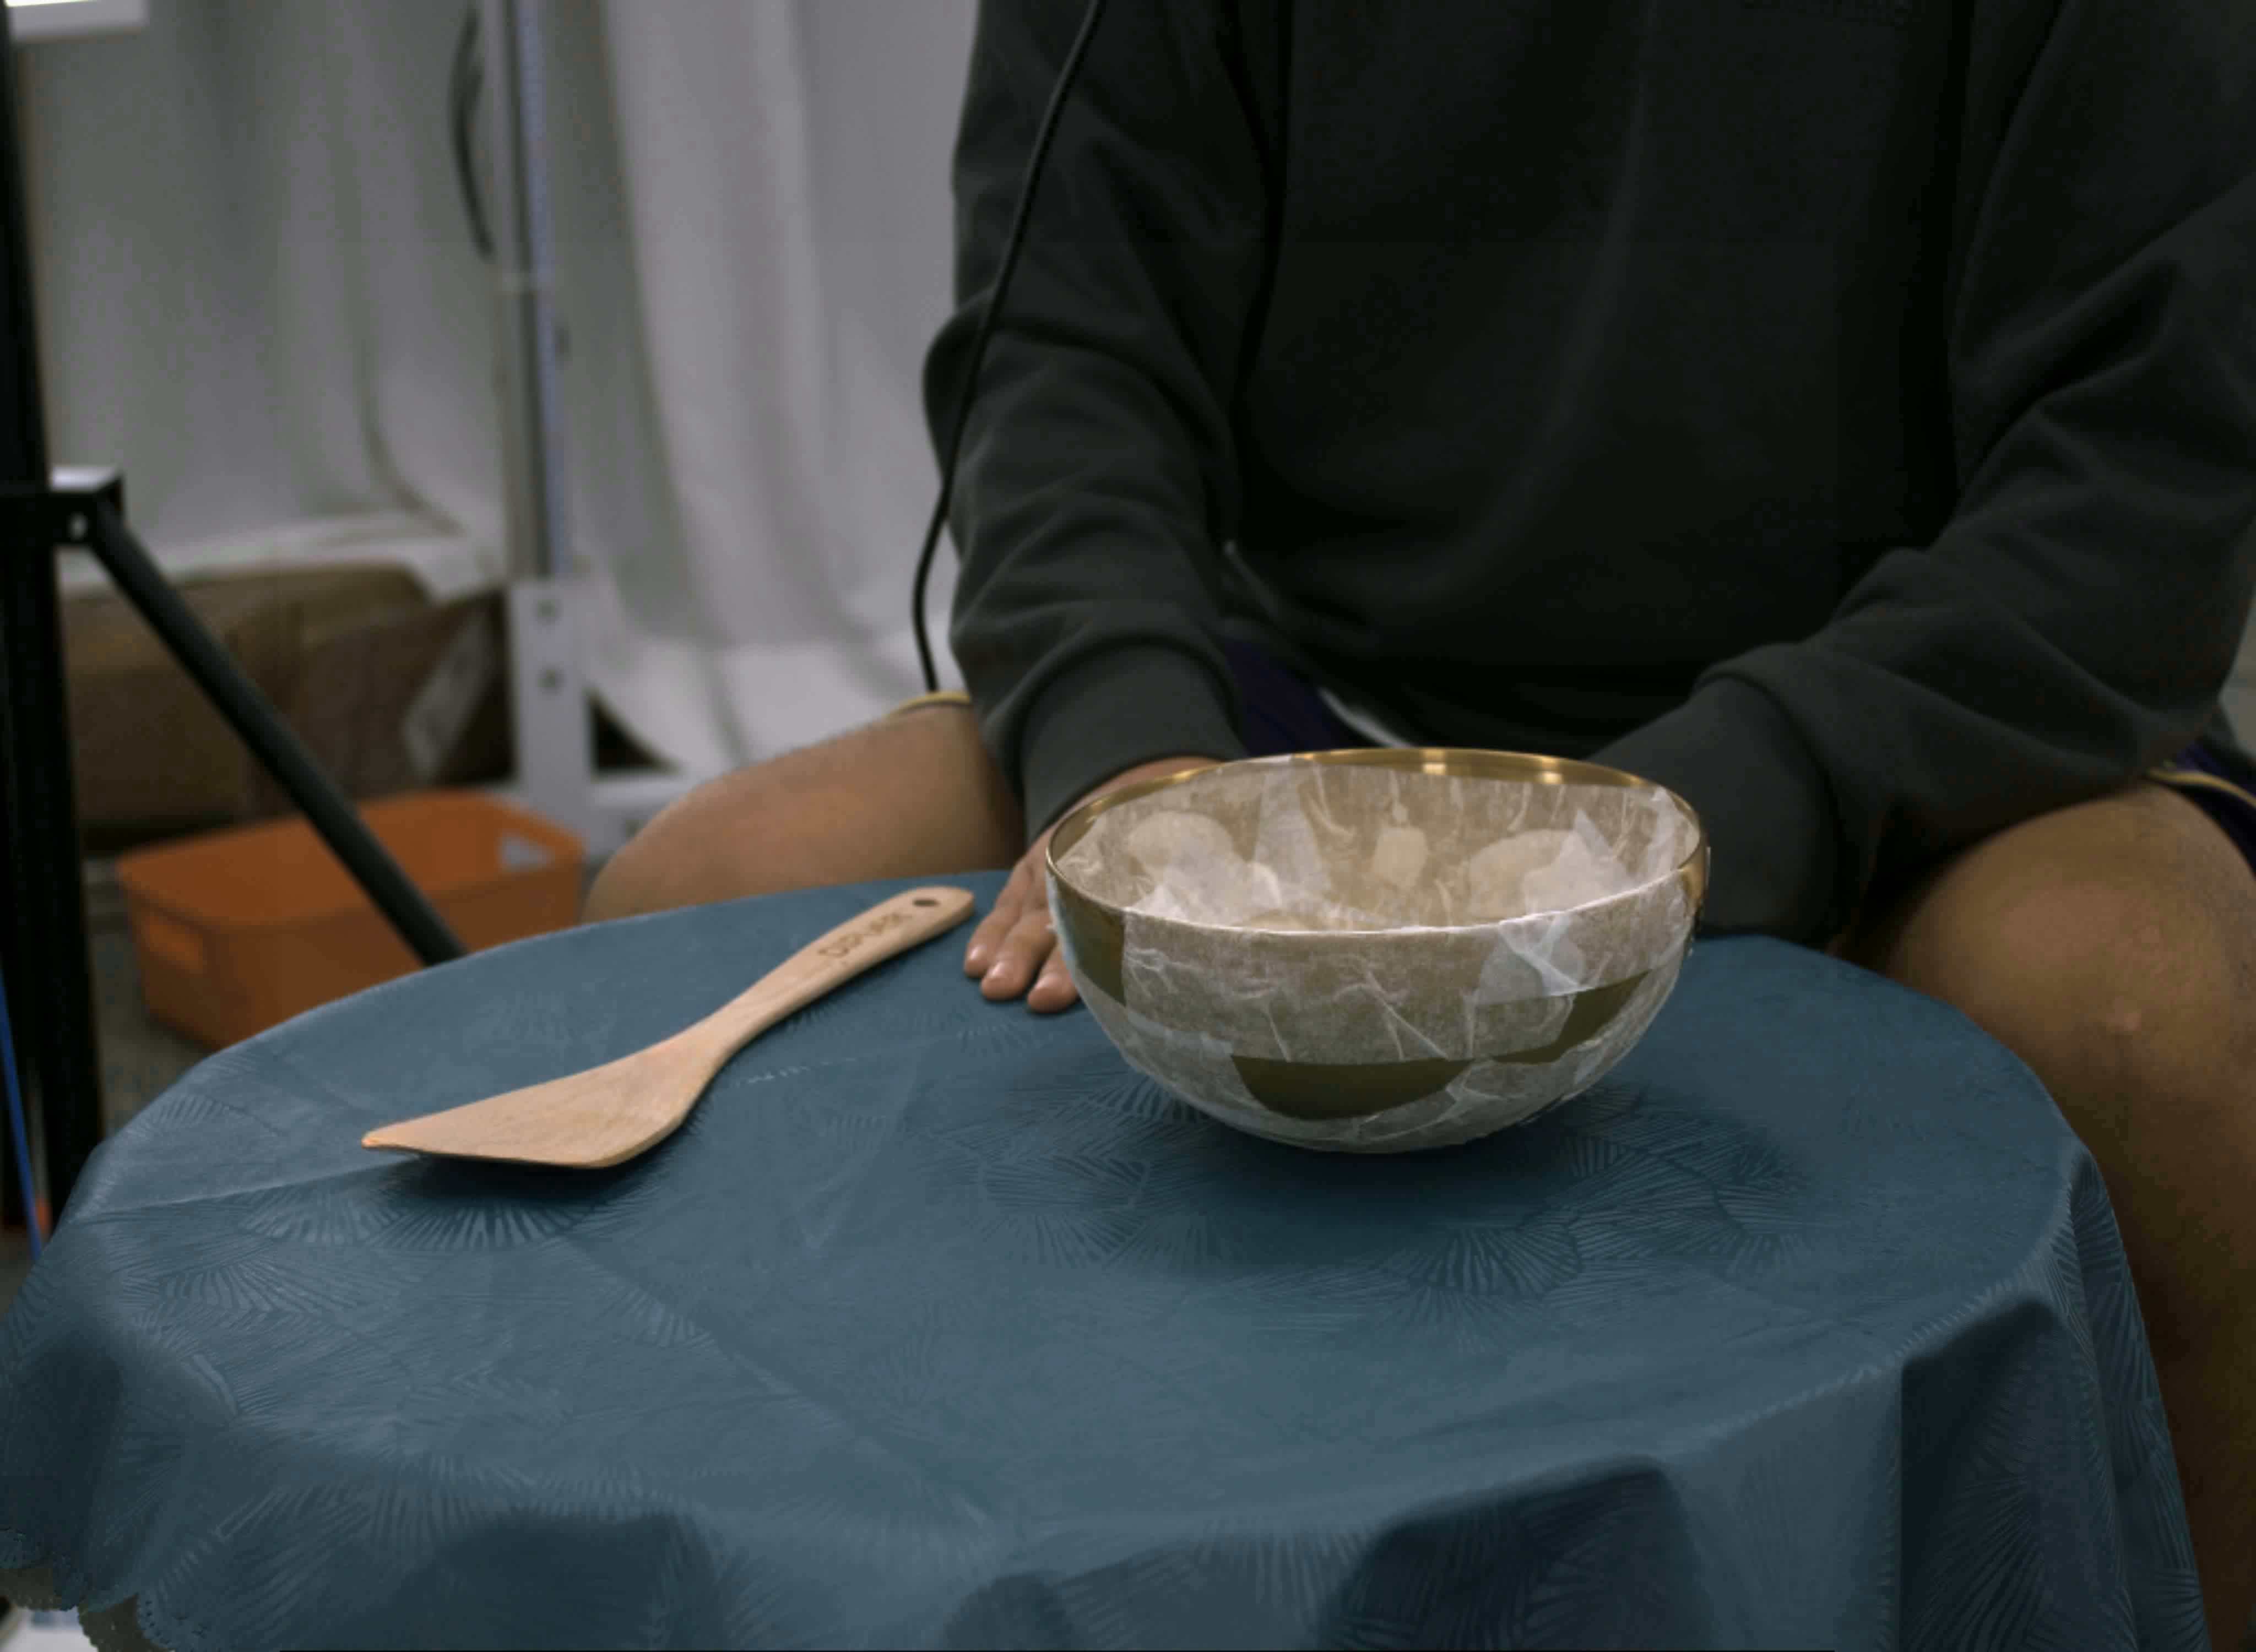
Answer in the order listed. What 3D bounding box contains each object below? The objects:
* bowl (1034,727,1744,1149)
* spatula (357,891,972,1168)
[{"bbox_3d":[0.078,0.042,1.603,0.213,0.094,0.216,-4,16,0],"label":"bowl"},{"bbox_3d":[-0.129,0.063,1.712,0.081,0.016,0.322,5,17,25],"label":"spatula"}]
